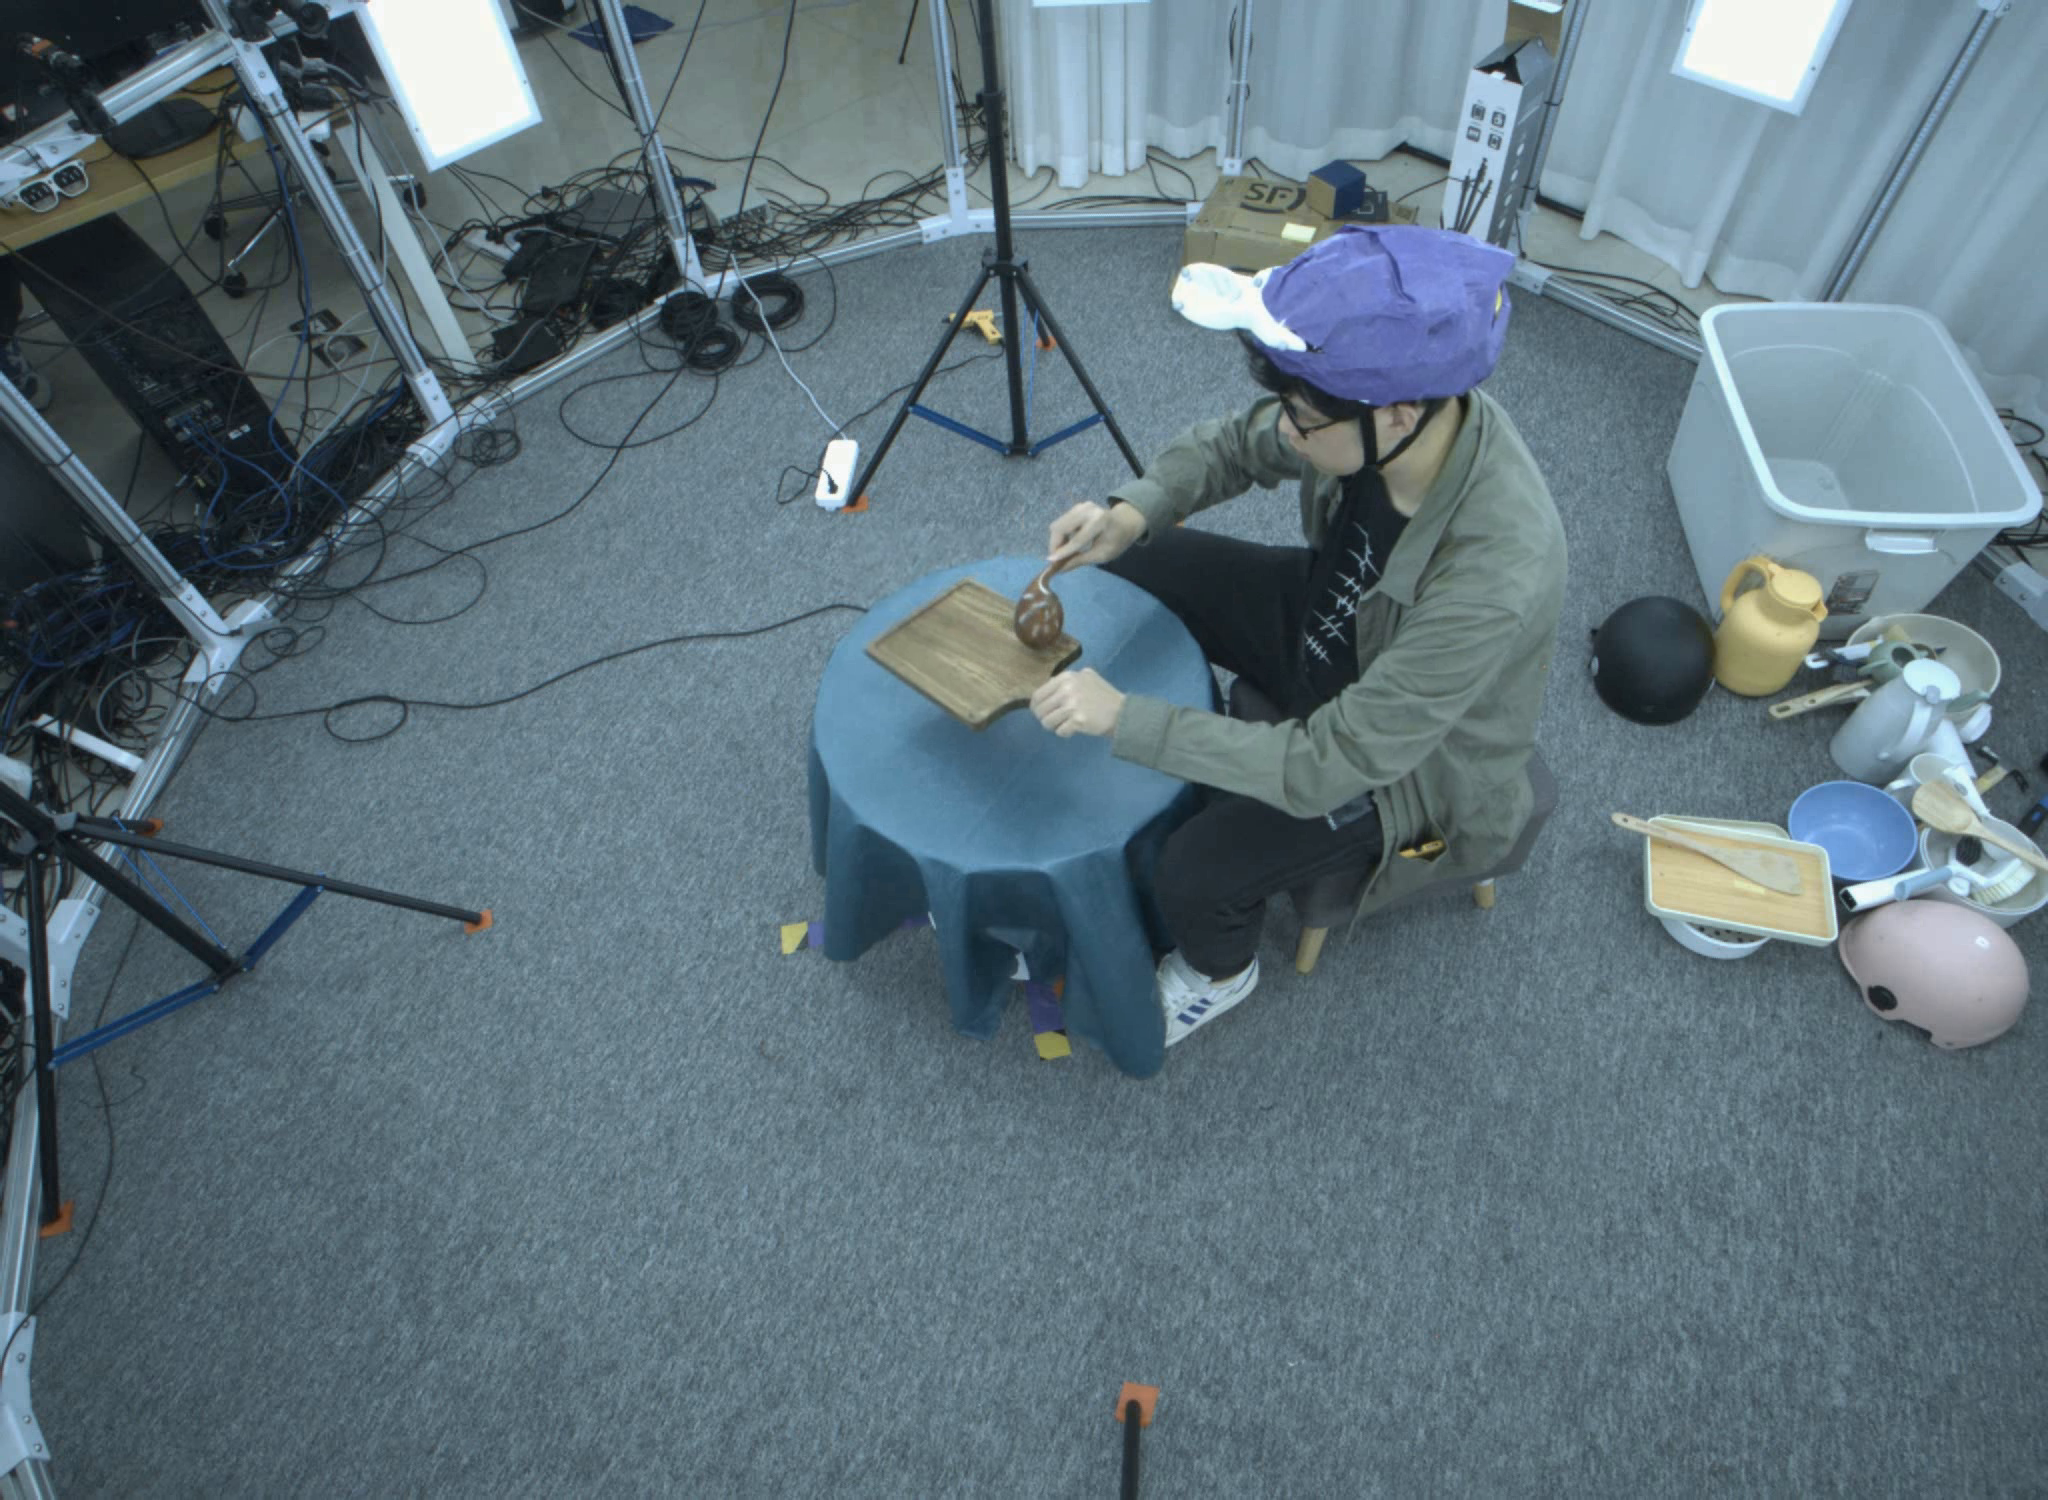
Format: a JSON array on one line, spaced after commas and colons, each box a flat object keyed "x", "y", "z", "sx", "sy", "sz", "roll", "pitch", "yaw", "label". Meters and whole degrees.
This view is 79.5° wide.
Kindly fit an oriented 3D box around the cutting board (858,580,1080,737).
[{"x": -0.051, "y": -0.109, "z": 1.659, "sx": 0.202, "sy": 0.023, "sz": 0.344, "roll": -37, "pitch": 52, "yaw": -22, "label": "cutting board"}]

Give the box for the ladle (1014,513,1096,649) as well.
[{"x": 0.061, "y": -0.239, "z": 1.712, "sx": 0.080, "sy": 0.078, "sz": 0.275, "roll": -16, "pitch": 27, "yaw": 38, "label": "ladle"}]
